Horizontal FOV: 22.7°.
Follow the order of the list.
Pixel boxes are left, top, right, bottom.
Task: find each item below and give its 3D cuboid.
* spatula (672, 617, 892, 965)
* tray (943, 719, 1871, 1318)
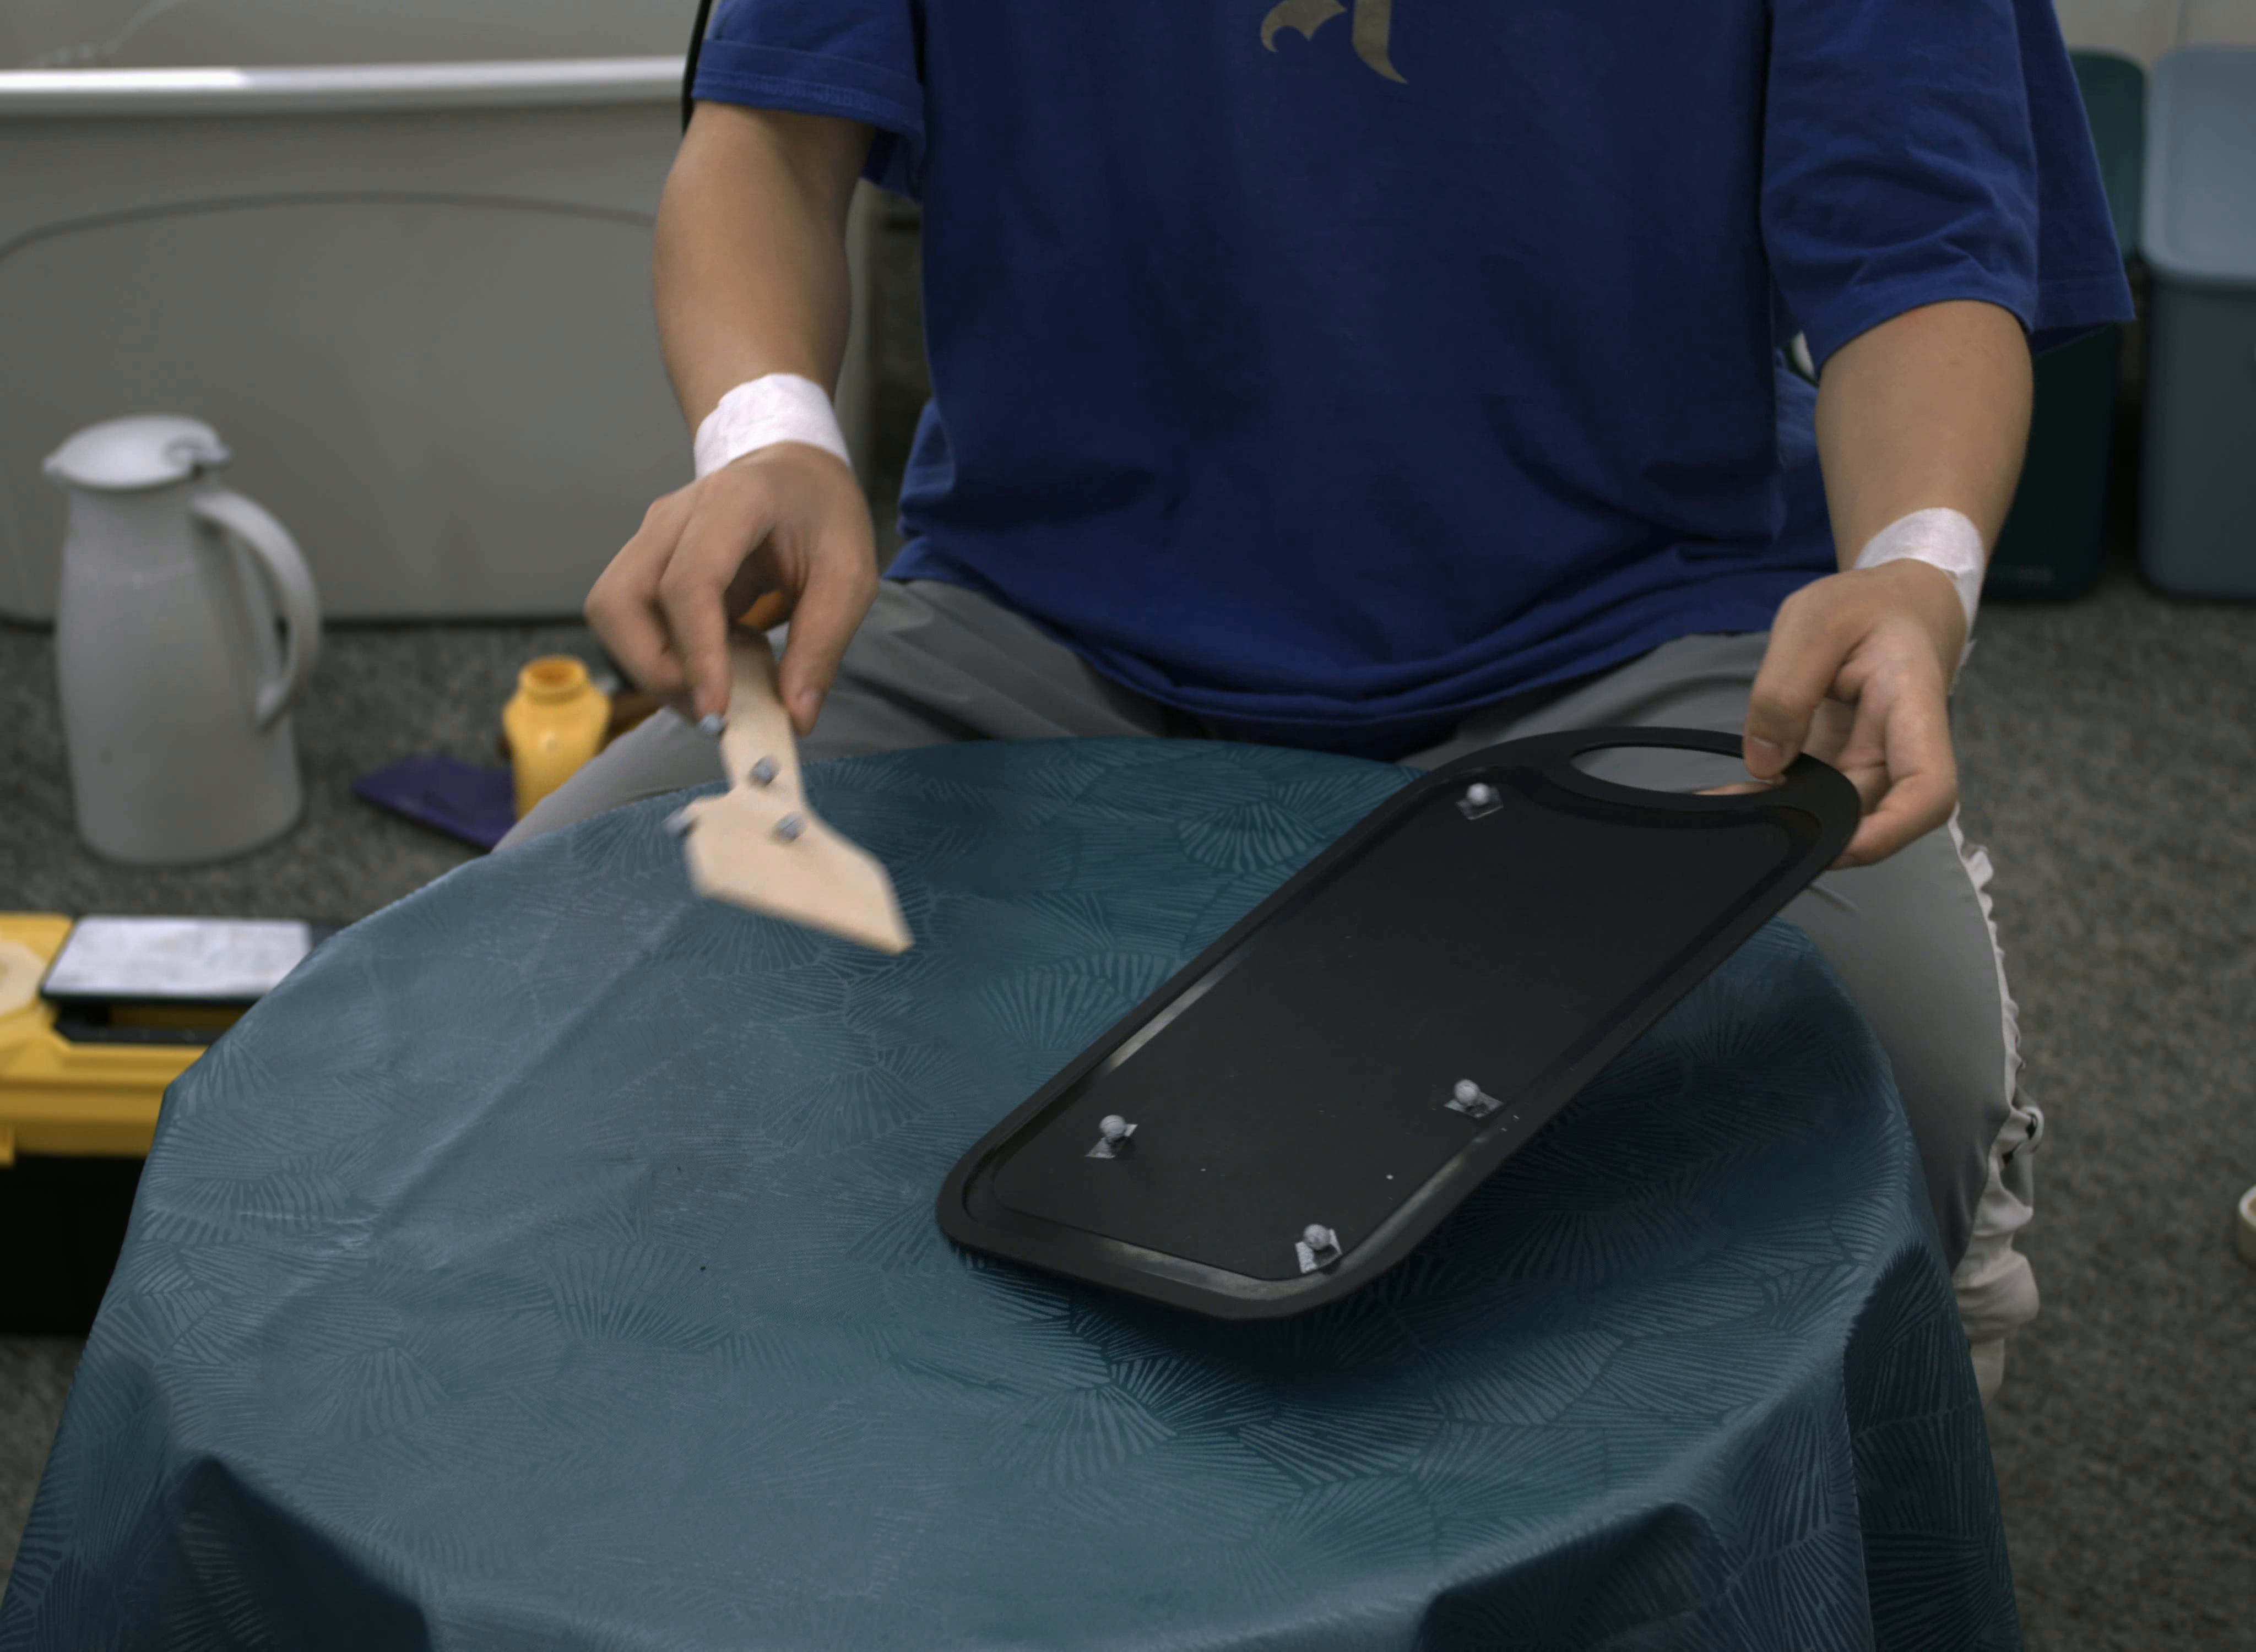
[{"bbox_3d":[-0.128,-0.018,1.933,0.072,0.010,0.296,16,19,-14],"label":"spatula"},{"bbox_3d":[0.097,0.053,1.865,0.330,0.010,0.210,-38,30,-30],"label":"tray"}]
